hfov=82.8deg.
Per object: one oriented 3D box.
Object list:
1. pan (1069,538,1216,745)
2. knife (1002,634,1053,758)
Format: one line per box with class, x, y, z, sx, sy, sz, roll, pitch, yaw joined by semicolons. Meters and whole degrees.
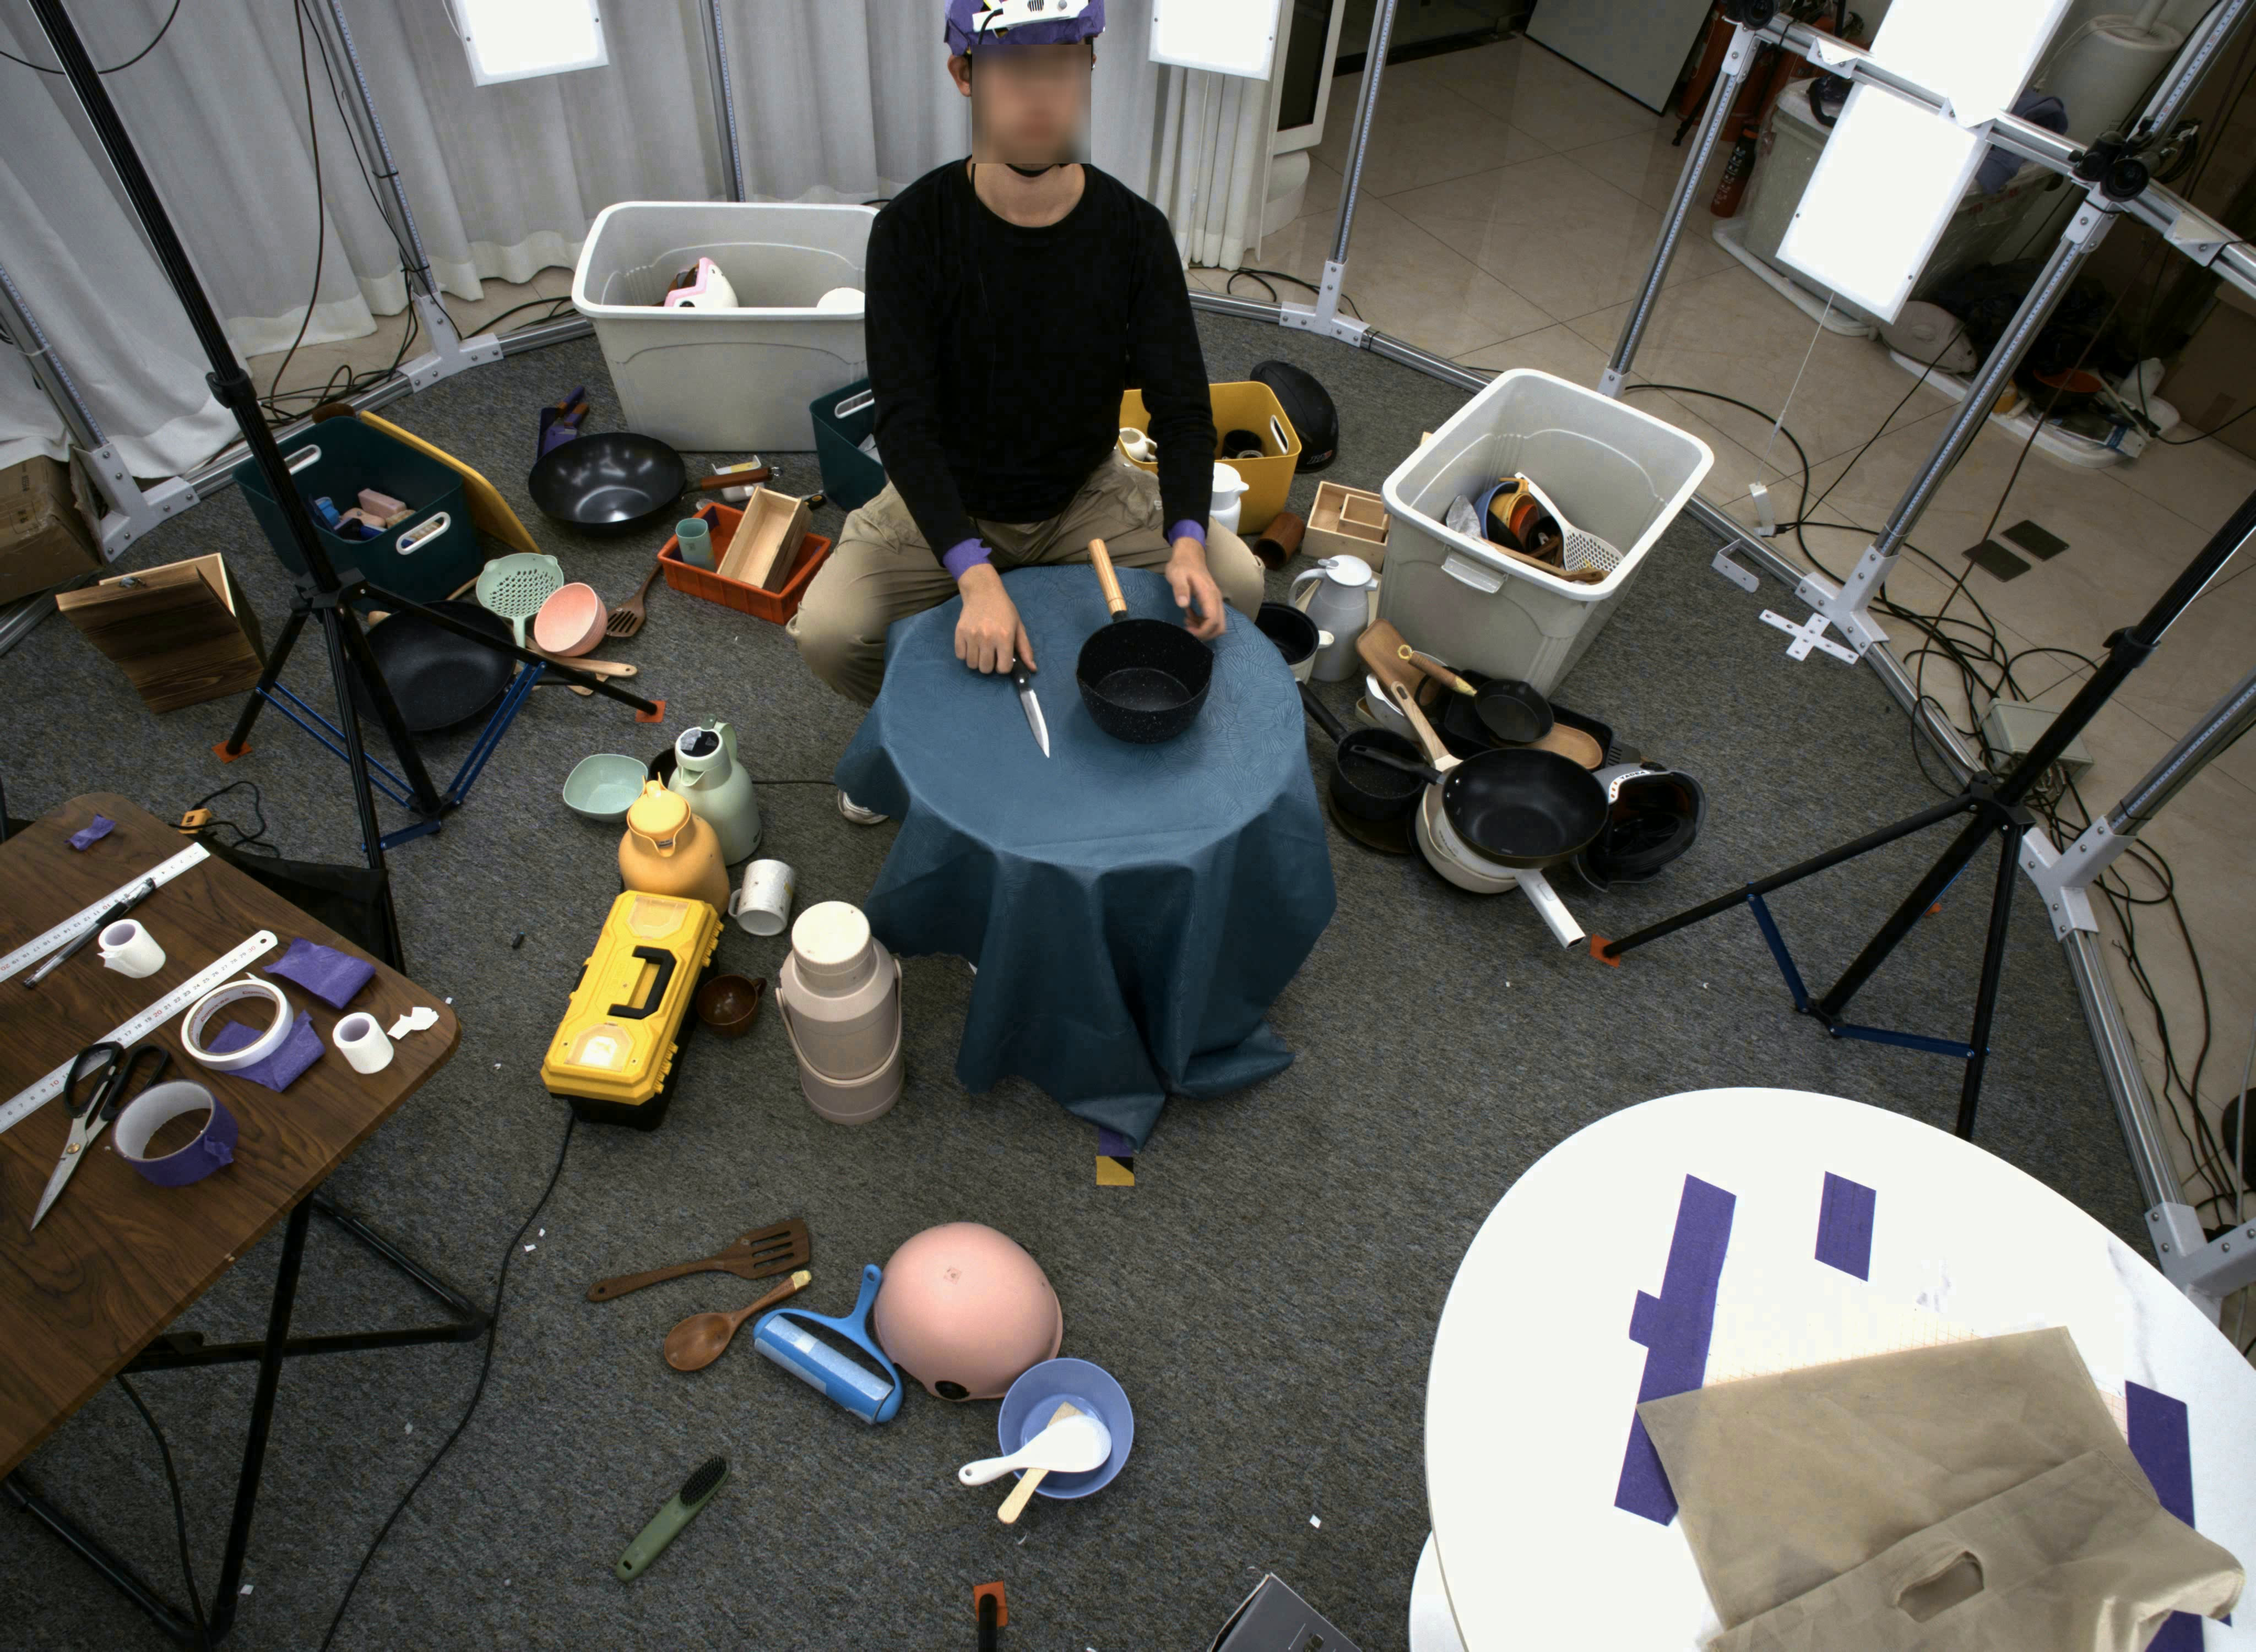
pan;-0.002;-0.263;1.829;0.207;0.105;0.351;-12;52;-13
knife;-0.142;-0.185;1.814;0.024;0.016;0.244;-10;53;-16
